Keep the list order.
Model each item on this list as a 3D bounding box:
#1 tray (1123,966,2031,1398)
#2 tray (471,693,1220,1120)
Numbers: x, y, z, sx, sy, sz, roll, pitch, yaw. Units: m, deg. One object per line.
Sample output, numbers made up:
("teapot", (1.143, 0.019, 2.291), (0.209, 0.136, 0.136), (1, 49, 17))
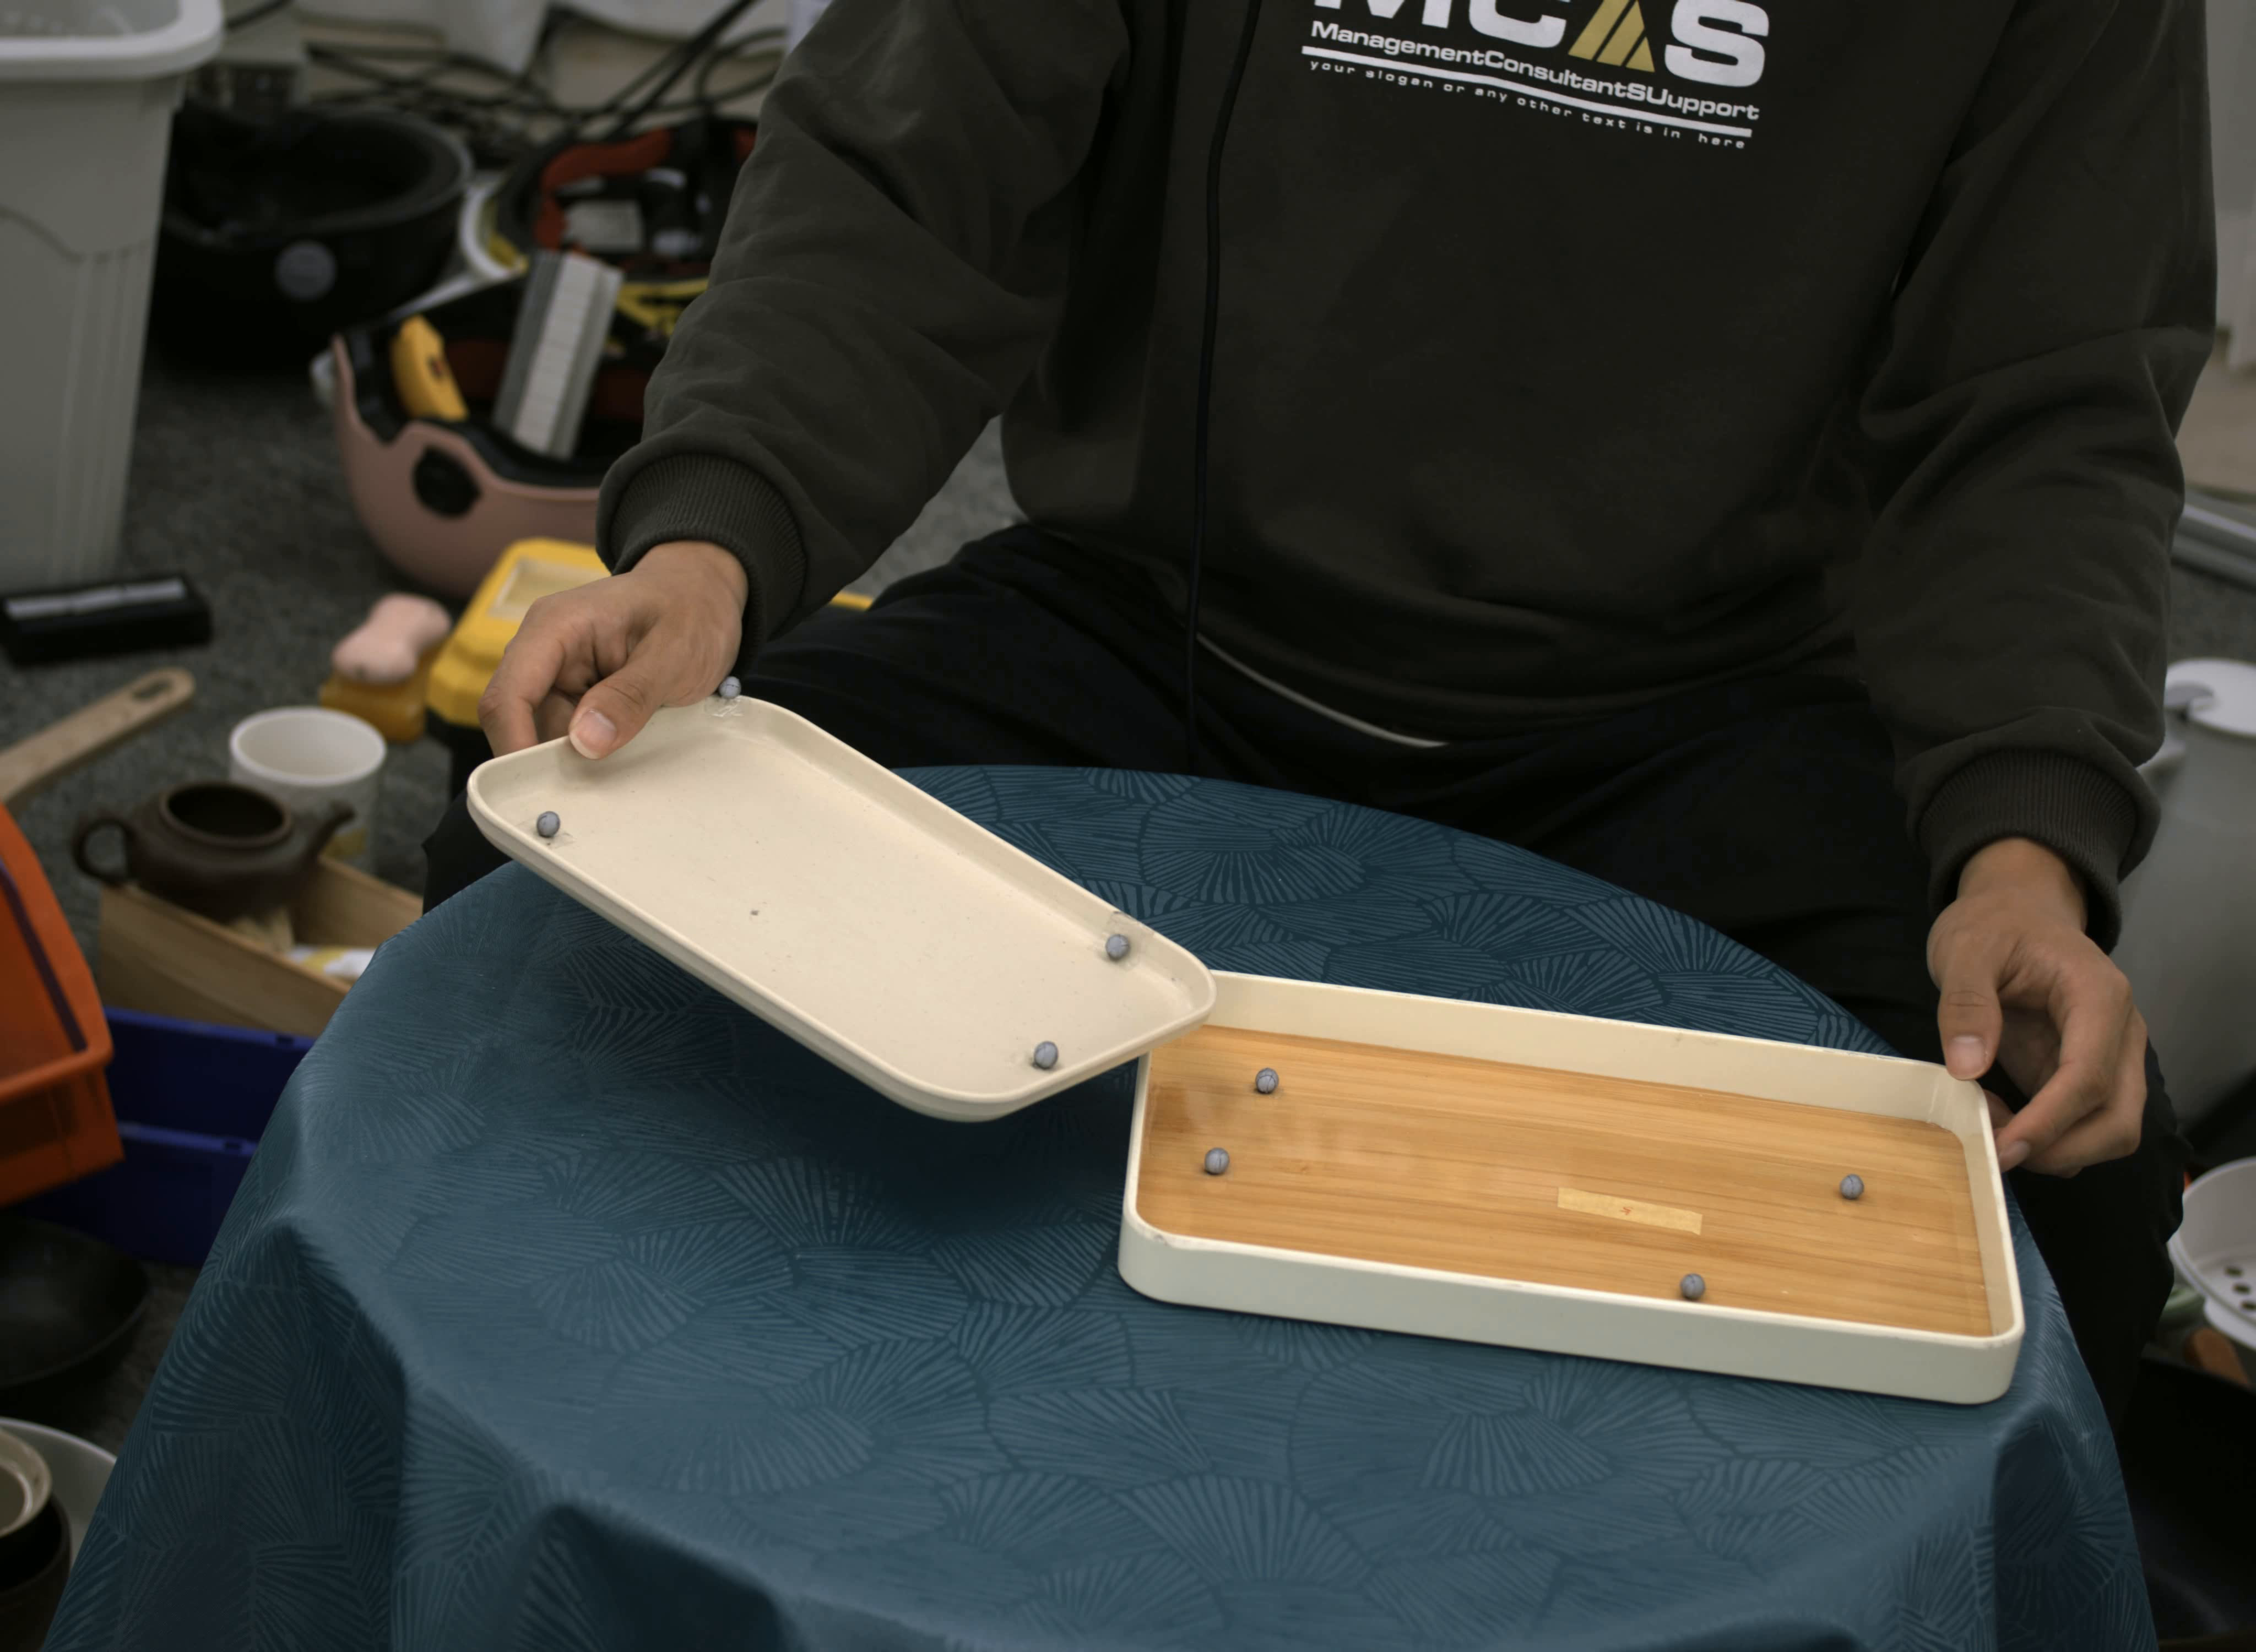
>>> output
("tray", (0.151, 0.120, 1.821), (0.299, 0.027, 0.192), (7, 26, 0))
("tray", (-0.098, 0.026, 1.832), (0.241, 0.017, 0.170), (30, 29, 26))
